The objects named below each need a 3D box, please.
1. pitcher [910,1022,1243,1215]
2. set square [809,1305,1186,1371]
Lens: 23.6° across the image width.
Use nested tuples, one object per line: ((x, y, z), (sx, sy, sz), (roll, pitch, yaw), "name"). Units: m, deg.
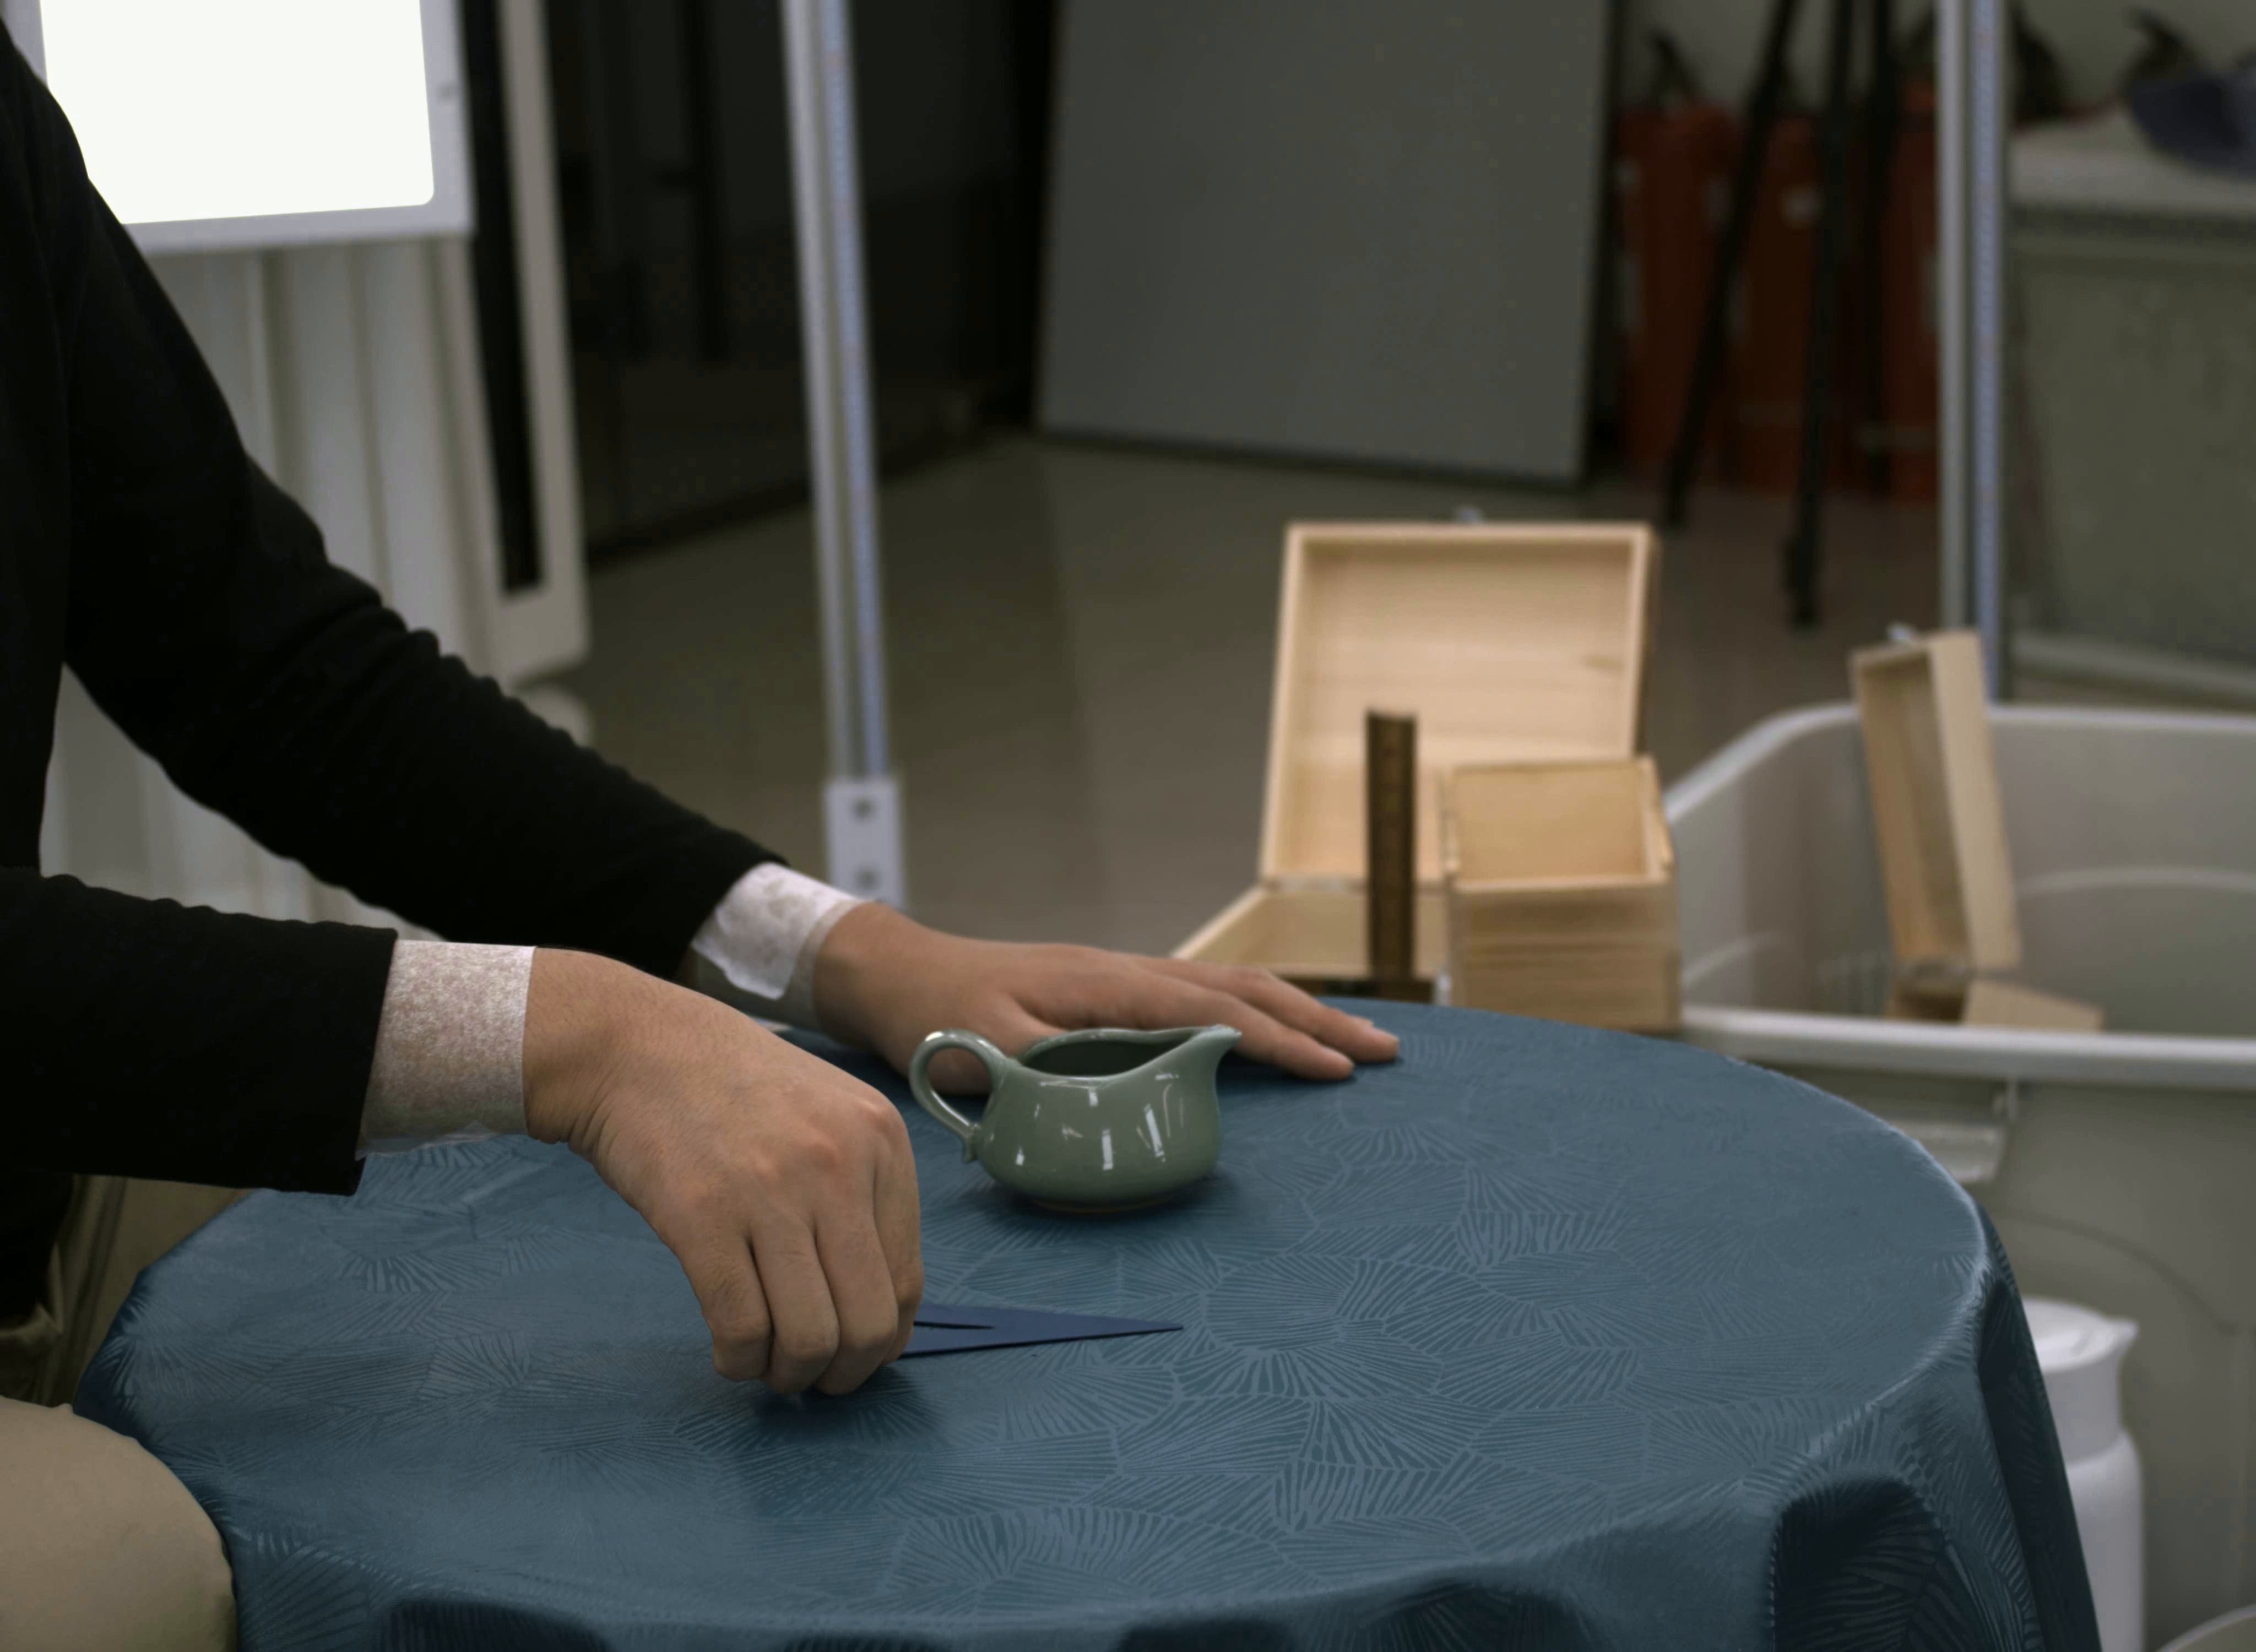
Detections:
((-0.016, 0.094, 1.769), (0.112, 0.057, 0.084), (-2, 12, 10), "pitcher")
((-0.050, 0.158, 1.627), (0.132, 0.006, 0.060), (4, 13, 27), "set square")
